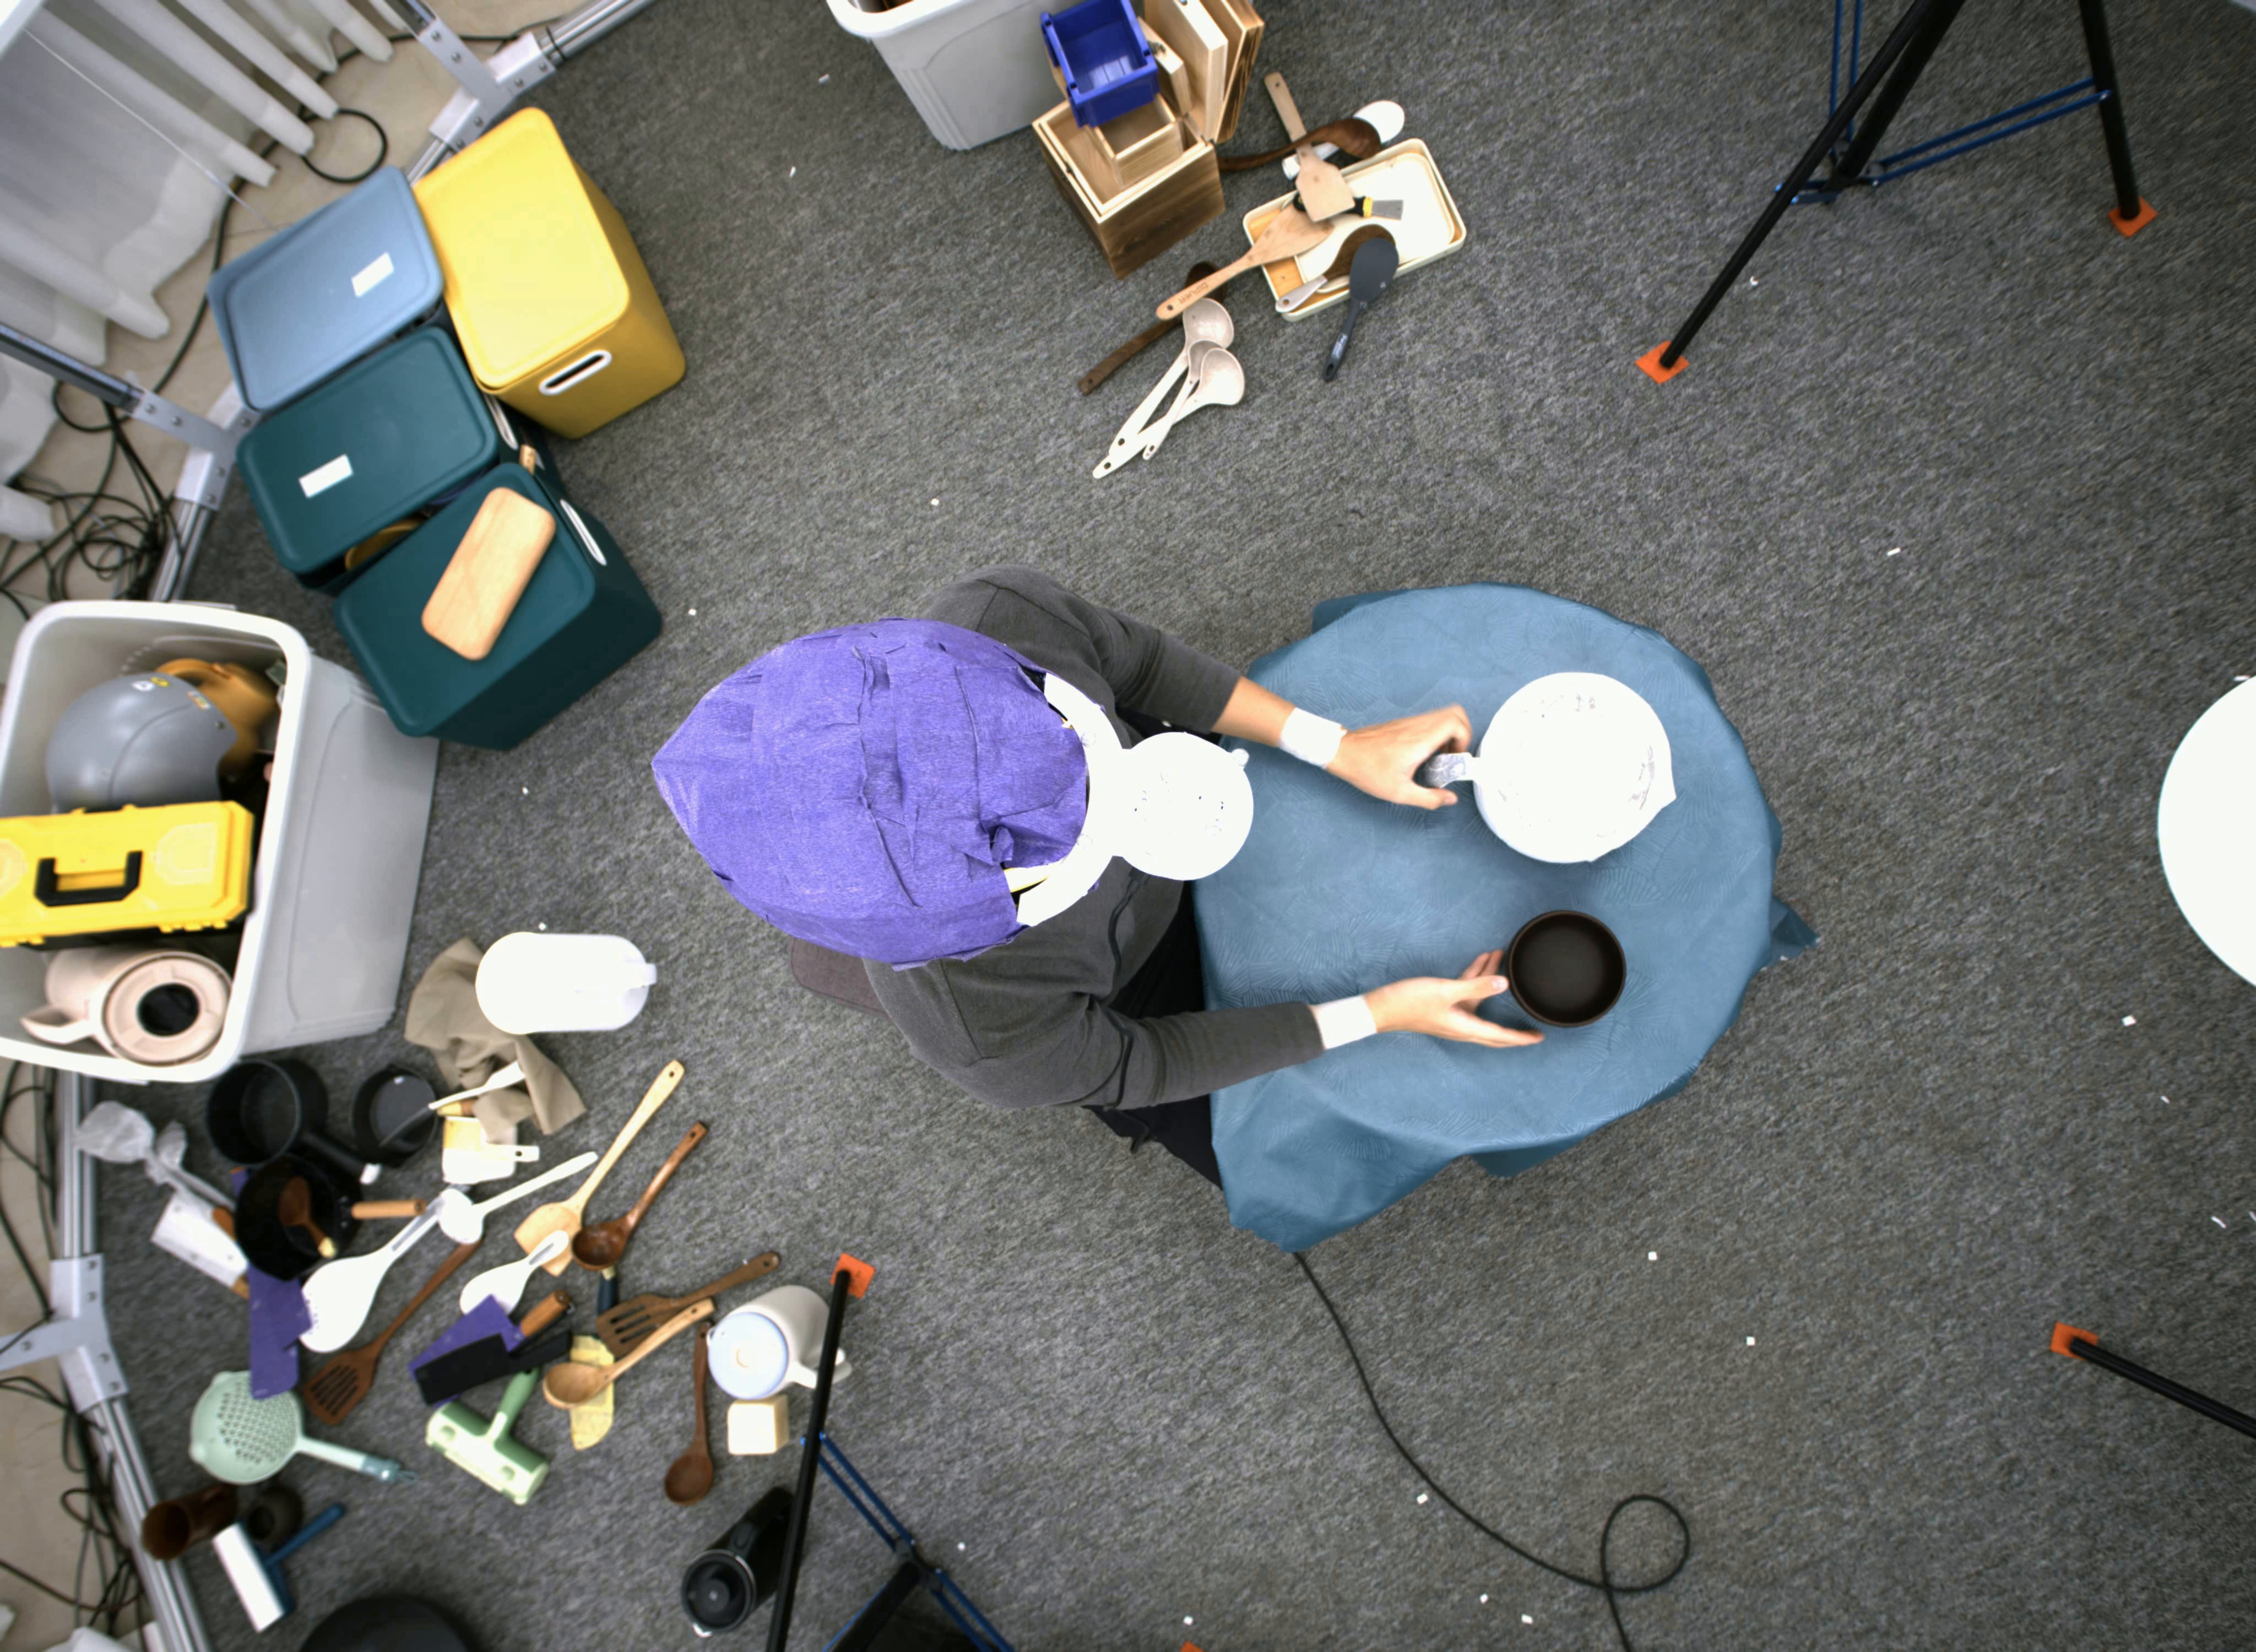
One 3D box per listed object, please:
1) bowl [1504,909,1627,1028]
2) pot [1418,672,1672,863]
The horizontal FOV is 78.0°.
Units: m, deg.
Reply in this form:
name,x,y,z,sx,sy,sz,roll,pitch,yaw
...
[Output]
name,x,y,z,sx,sy,sz,roll,pitch,yaw
bowl,0.439,0.141,1.388,0.118,0.070,0.117,-1,87,12
pot,0.410,-0.056,1.371,0.234,0.137,0.178,-1,85,11
